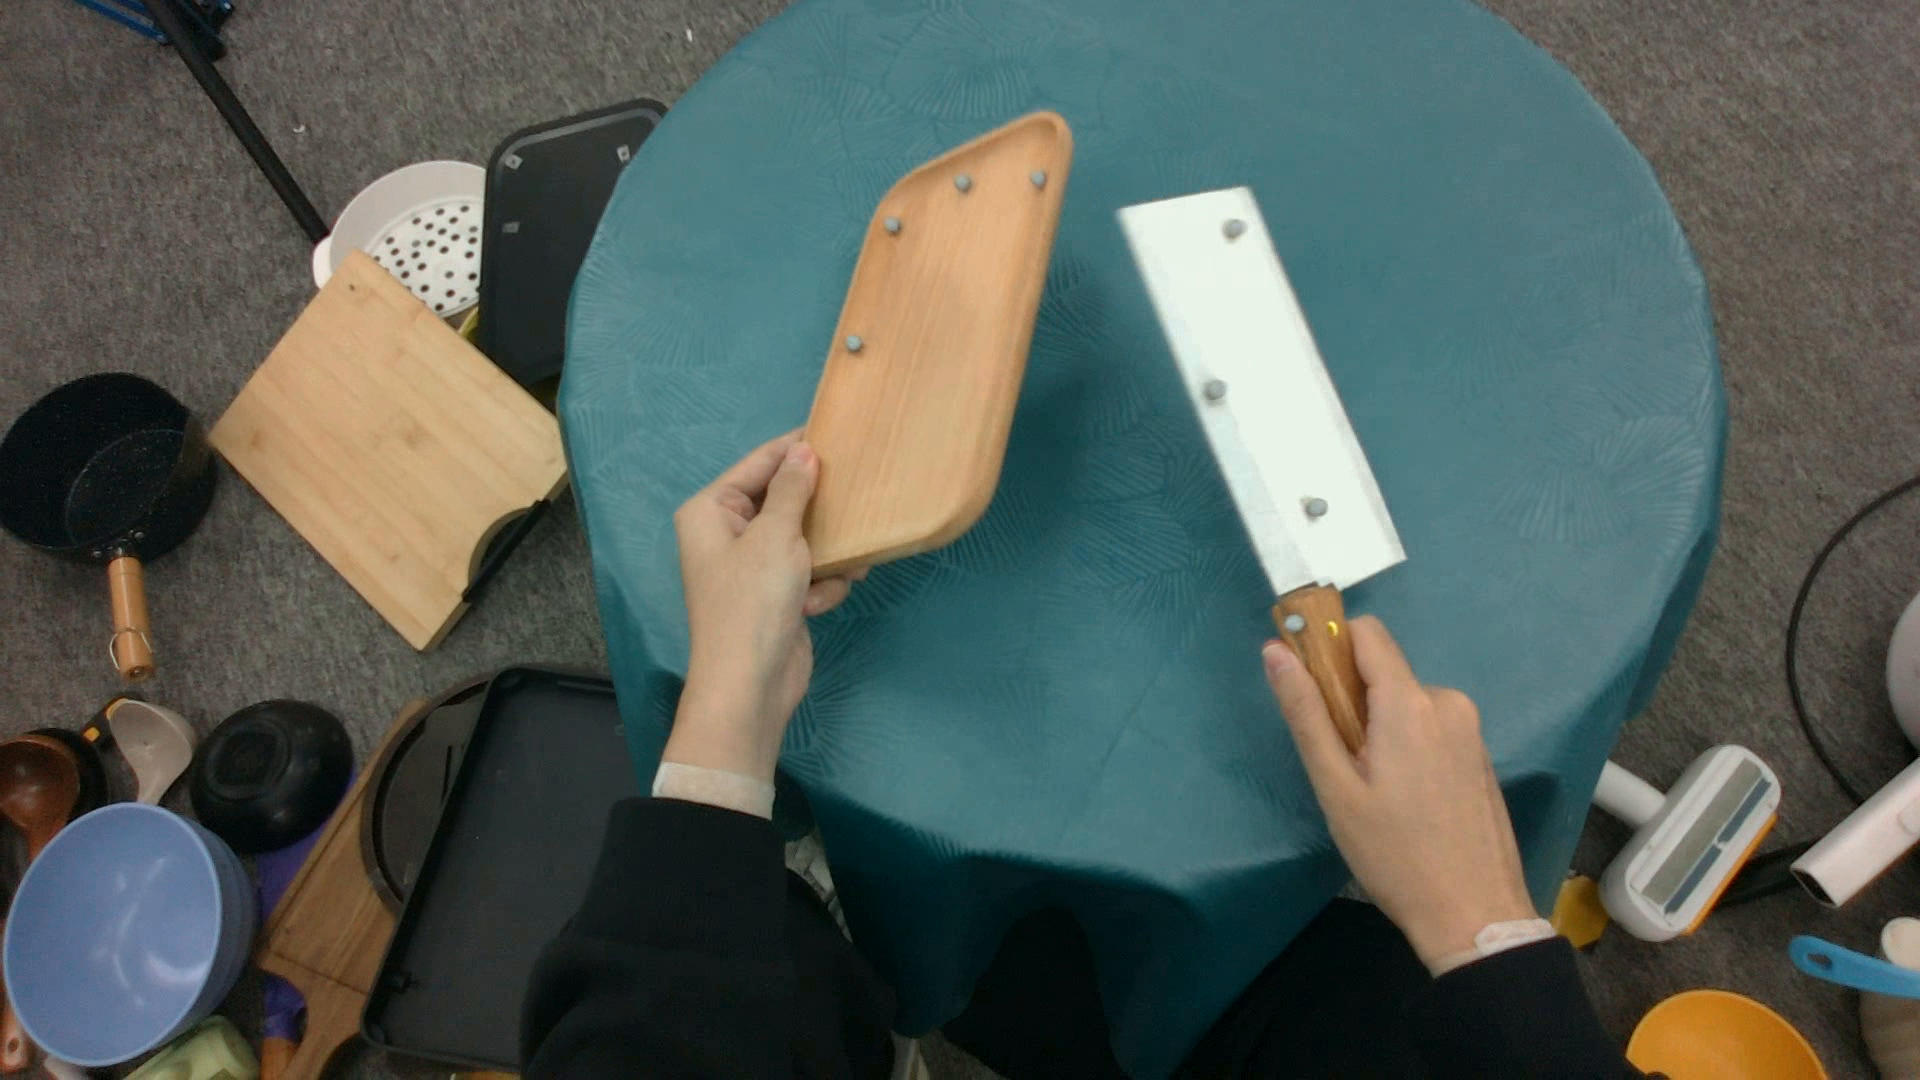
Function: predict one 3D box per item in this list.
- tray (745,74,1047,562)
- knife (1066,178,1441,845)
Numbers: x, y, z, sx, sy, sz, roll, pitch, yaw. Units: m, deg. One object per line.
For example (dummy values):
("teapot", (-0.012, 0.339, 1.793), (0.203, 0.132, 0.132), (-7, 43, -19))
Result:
("tray", (-0.026, -0.105, 0.632), (0.130, 0.023, 0.252), (-16, 51, 43))
("knife", (0.142, -0.021, 0.604), (0.093, 0.021, 0.306), (-24, 86, -37))
